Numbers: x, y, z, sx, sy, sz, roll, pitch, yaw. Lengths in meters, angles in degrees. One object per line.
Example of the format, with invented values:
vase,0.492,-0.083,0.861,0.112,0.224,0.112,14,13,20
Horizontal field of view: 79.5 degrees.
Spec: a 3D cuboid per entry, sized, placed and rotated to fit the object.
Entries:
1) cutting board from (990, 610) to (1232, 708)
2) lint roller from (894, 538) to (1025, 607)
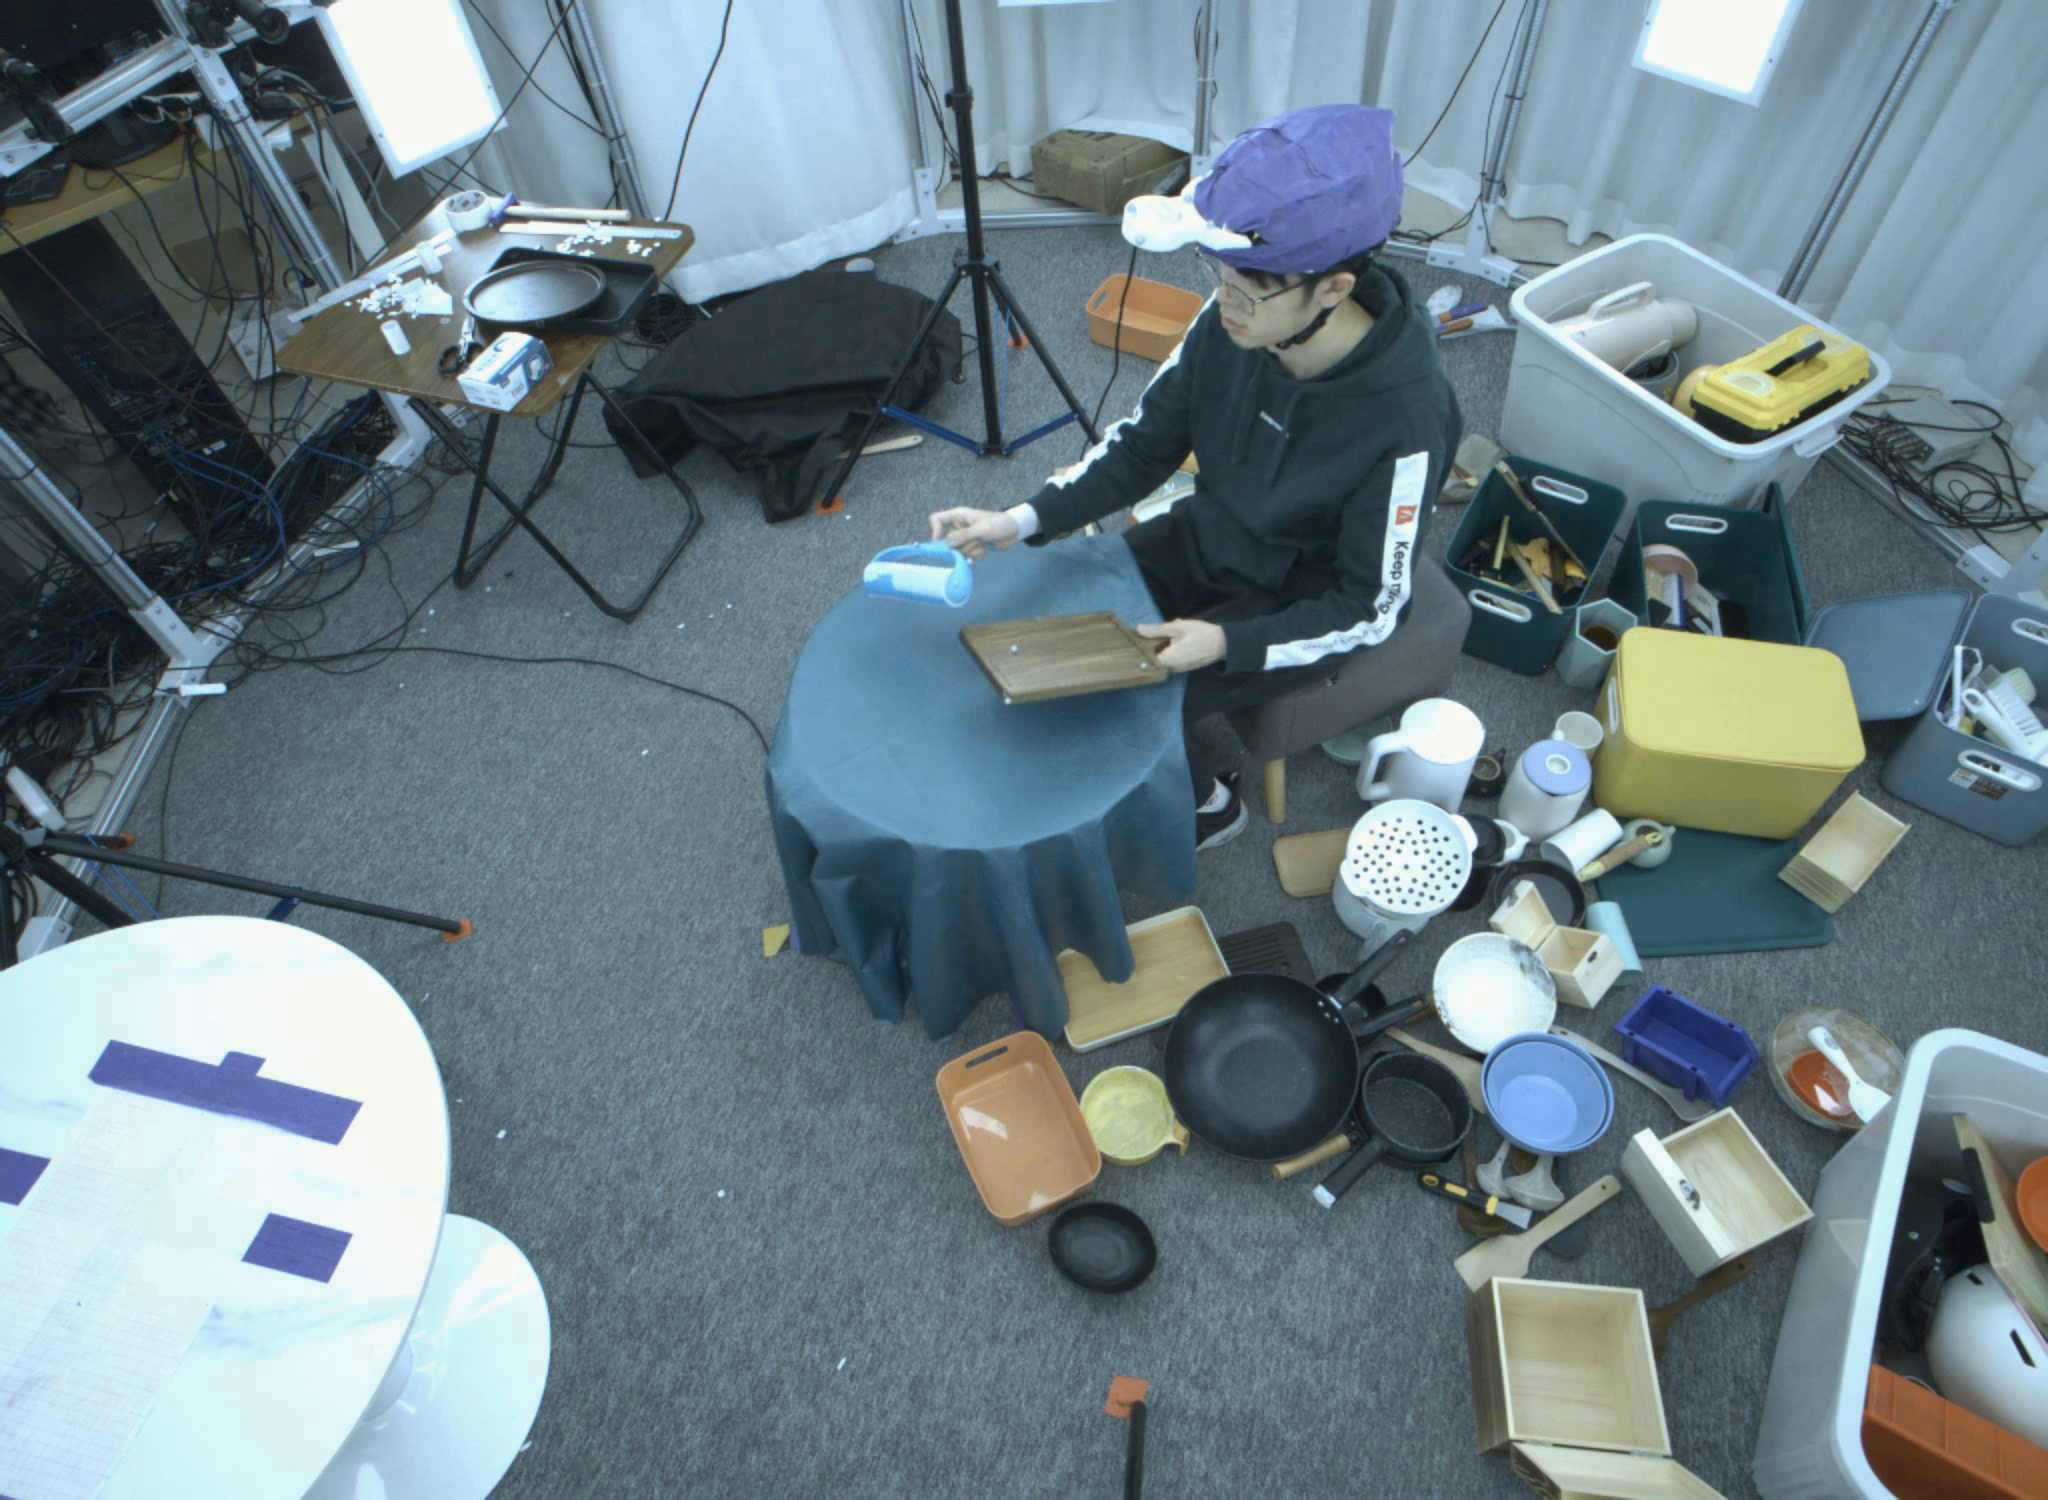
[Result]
cutting board,0.146,-0.140,1.772,0.357,0.023,0.197,-8,39,-23
lint roller,-0.074,-0.278,1.807,0.223,0.069,0.181,10,44,45
